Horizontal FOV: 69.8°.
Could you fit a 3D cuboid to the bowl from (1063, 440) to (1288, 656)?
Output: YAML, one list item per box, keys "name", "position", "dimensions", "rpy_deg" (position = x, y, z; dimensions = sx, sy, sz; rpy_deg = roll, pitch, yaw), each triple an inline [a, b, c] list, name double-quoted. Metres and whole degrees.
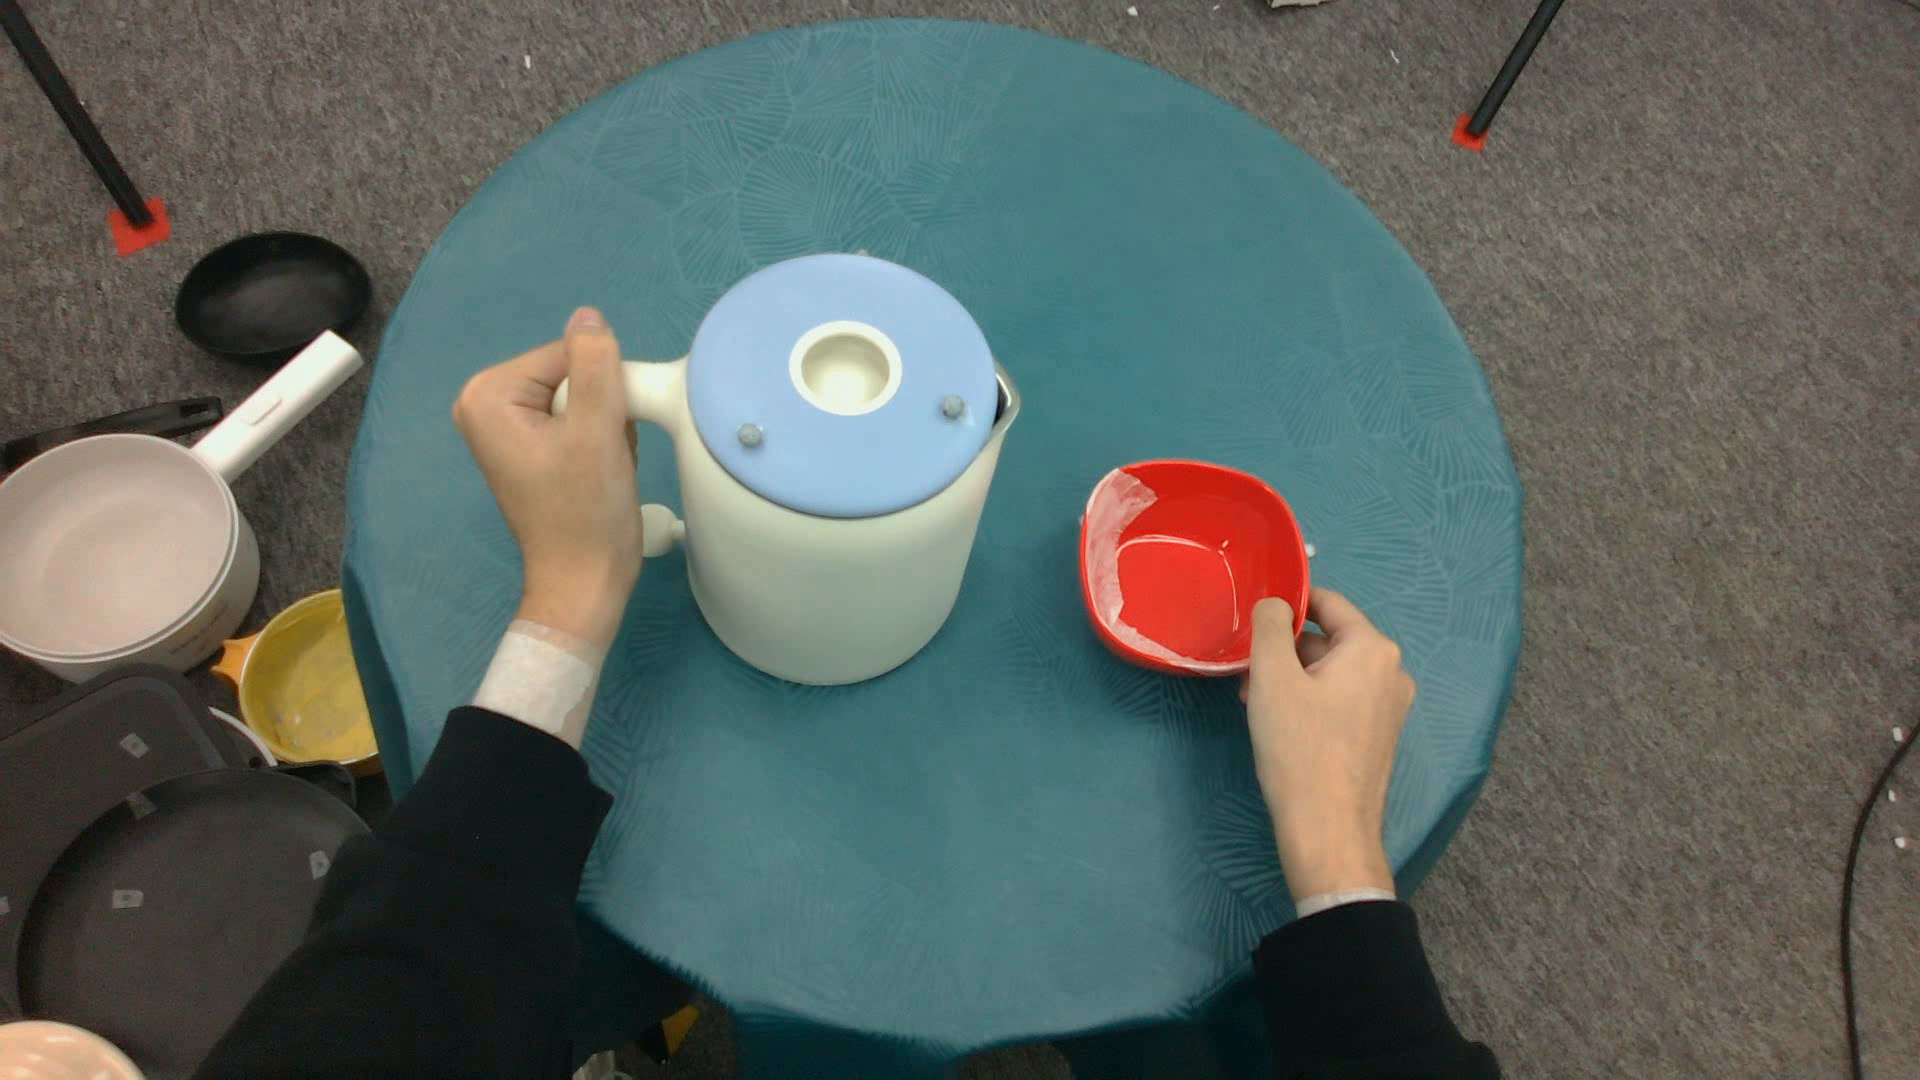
- name: "bowl"
  position: [0.097, 0.012, 0.665]
  dimensions: [0.119, 0.051, 0.119]
  rpy_deg: [7, 58, -12]

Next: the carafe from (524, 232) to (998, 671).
- name: "carafe"
  position: [-0.088, -0.034, 0.591]
  dimensions: [0.191, 0.181, 0.133]
  rpy_deg: [3, 62, -5]
